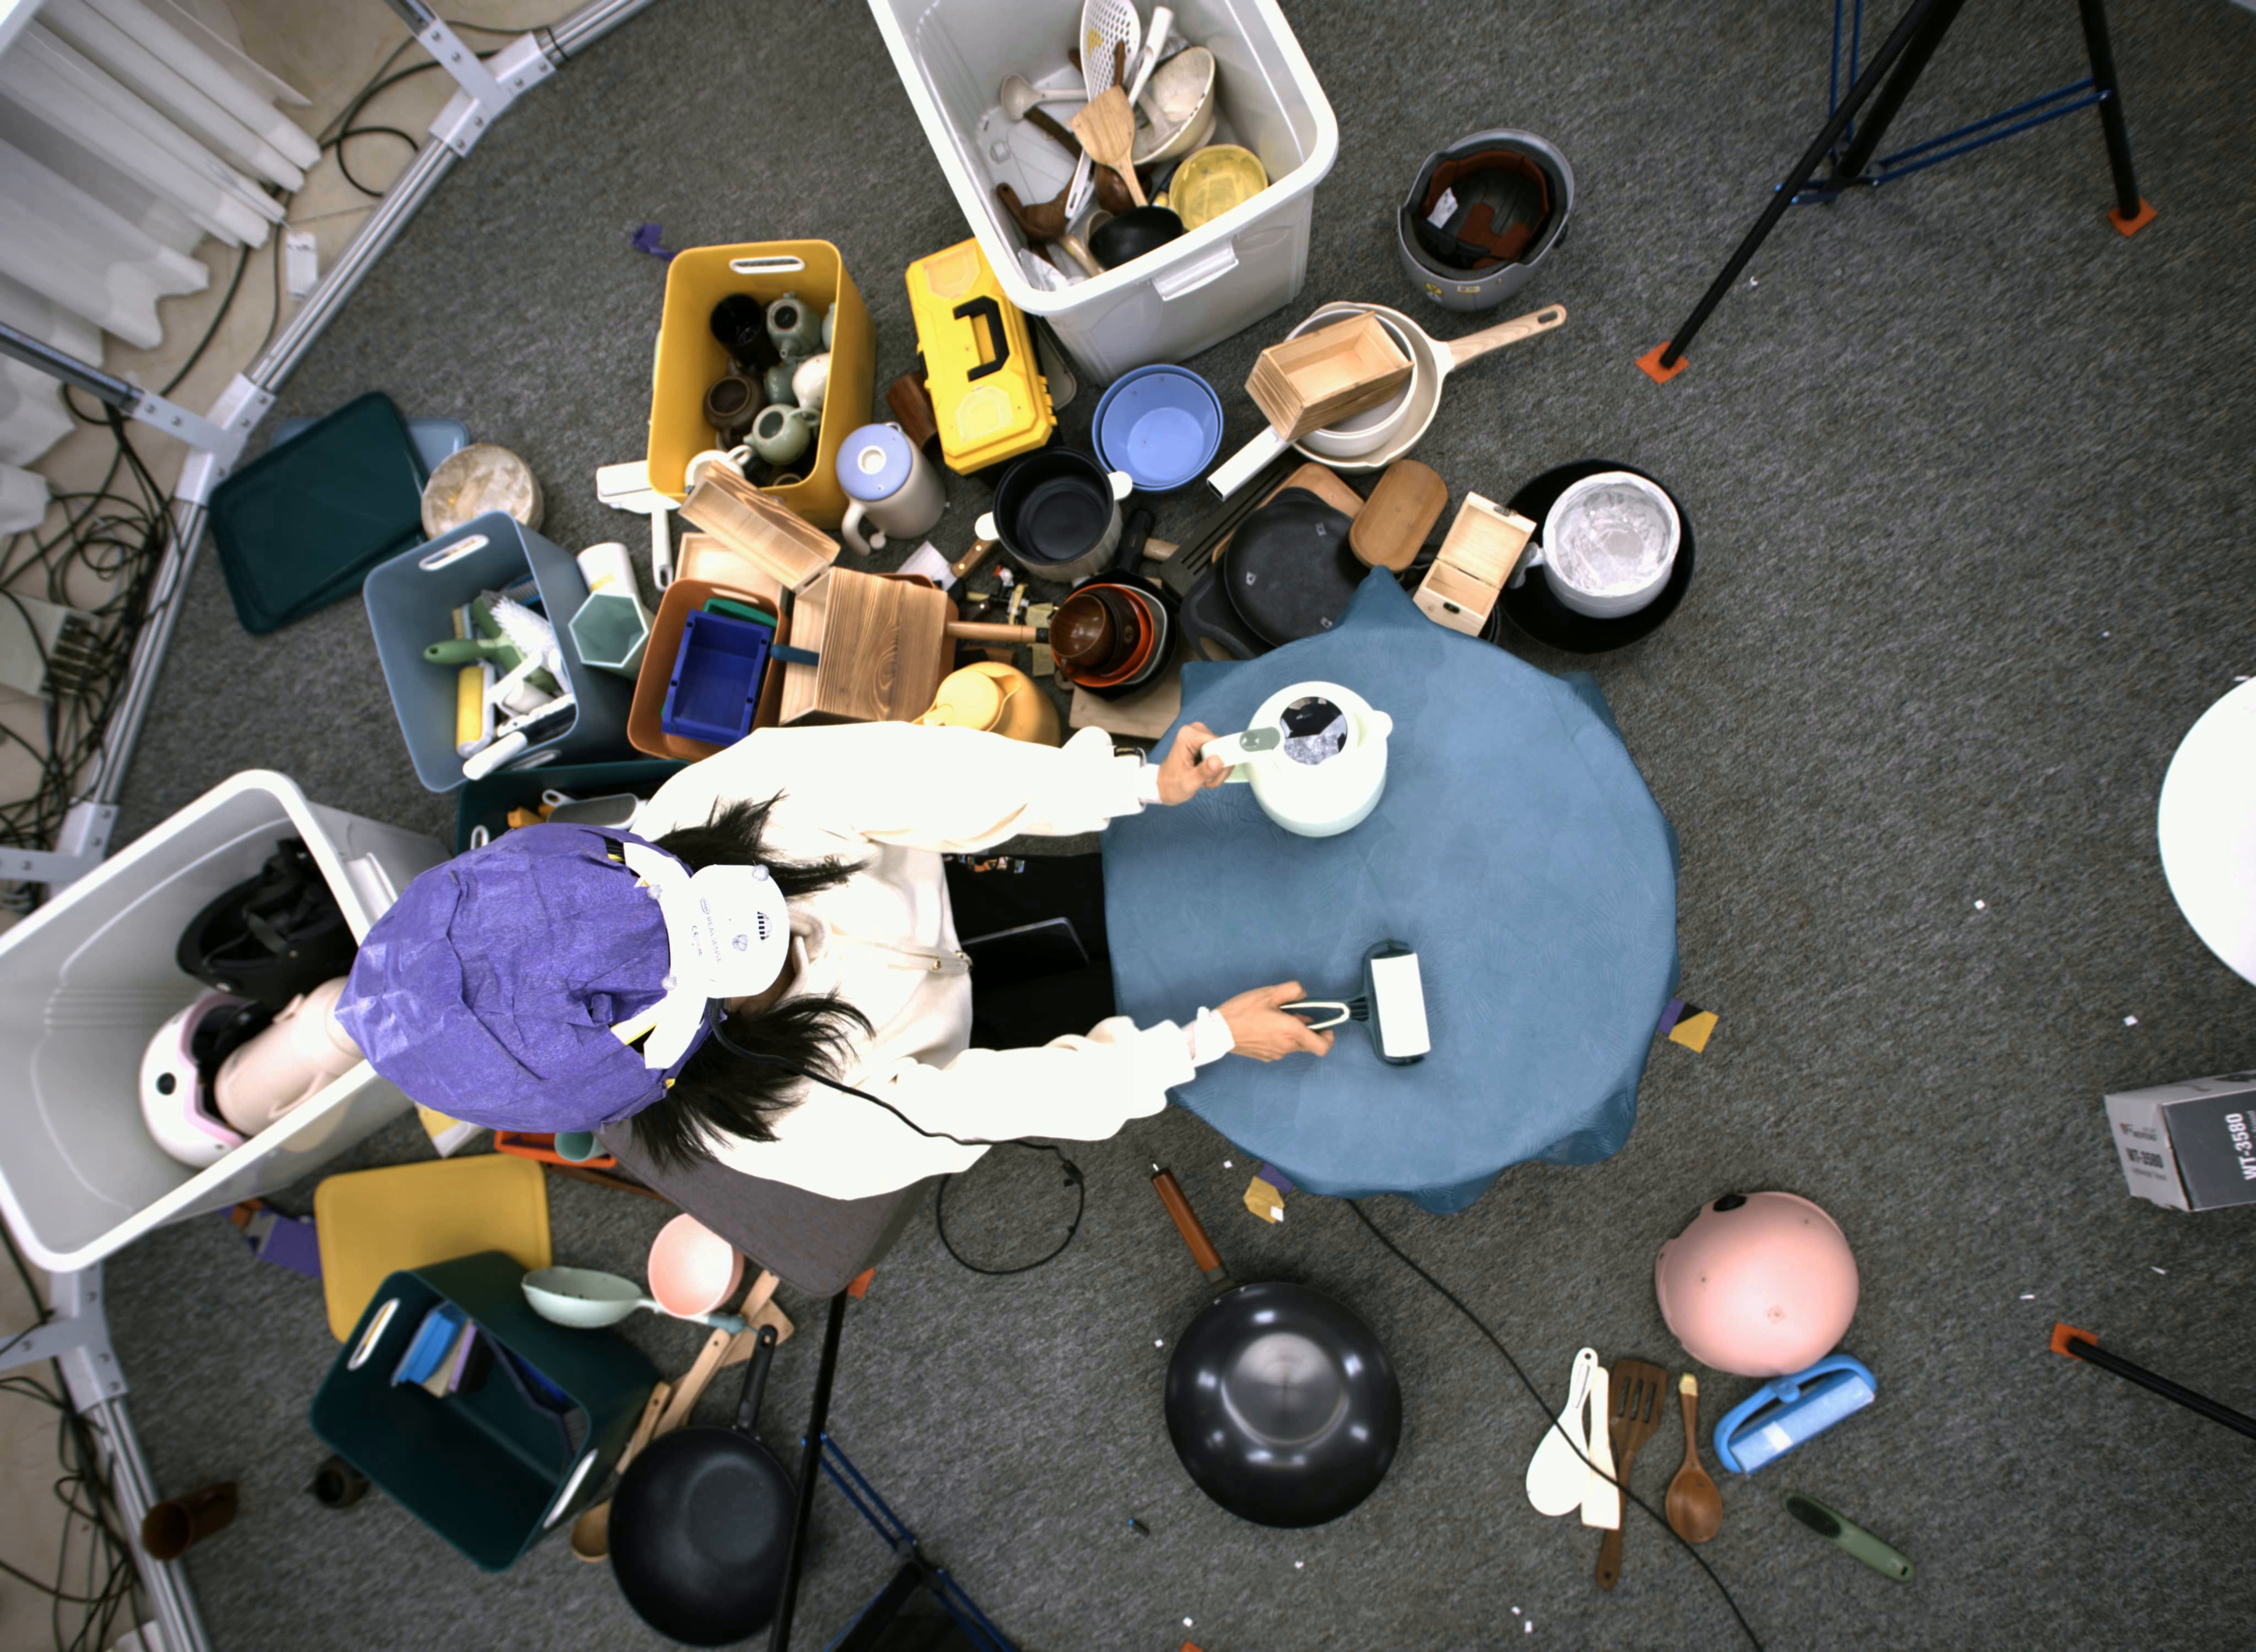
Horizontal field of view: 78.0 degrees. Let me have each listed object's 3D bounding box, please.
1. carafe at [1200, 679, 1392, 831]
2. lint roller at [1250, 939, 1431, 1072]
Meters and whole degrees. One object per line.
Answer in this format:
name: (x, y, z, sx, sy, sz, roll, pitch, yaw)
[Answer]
carafe: (0.171, -0.073, 1.360, 0.188, 0.256, 0.143, -9, 85, 12)
lint roller: (0.216, 0.191, 1.418, 0.180, 0.048, 0.134, -7, 88, -2)
